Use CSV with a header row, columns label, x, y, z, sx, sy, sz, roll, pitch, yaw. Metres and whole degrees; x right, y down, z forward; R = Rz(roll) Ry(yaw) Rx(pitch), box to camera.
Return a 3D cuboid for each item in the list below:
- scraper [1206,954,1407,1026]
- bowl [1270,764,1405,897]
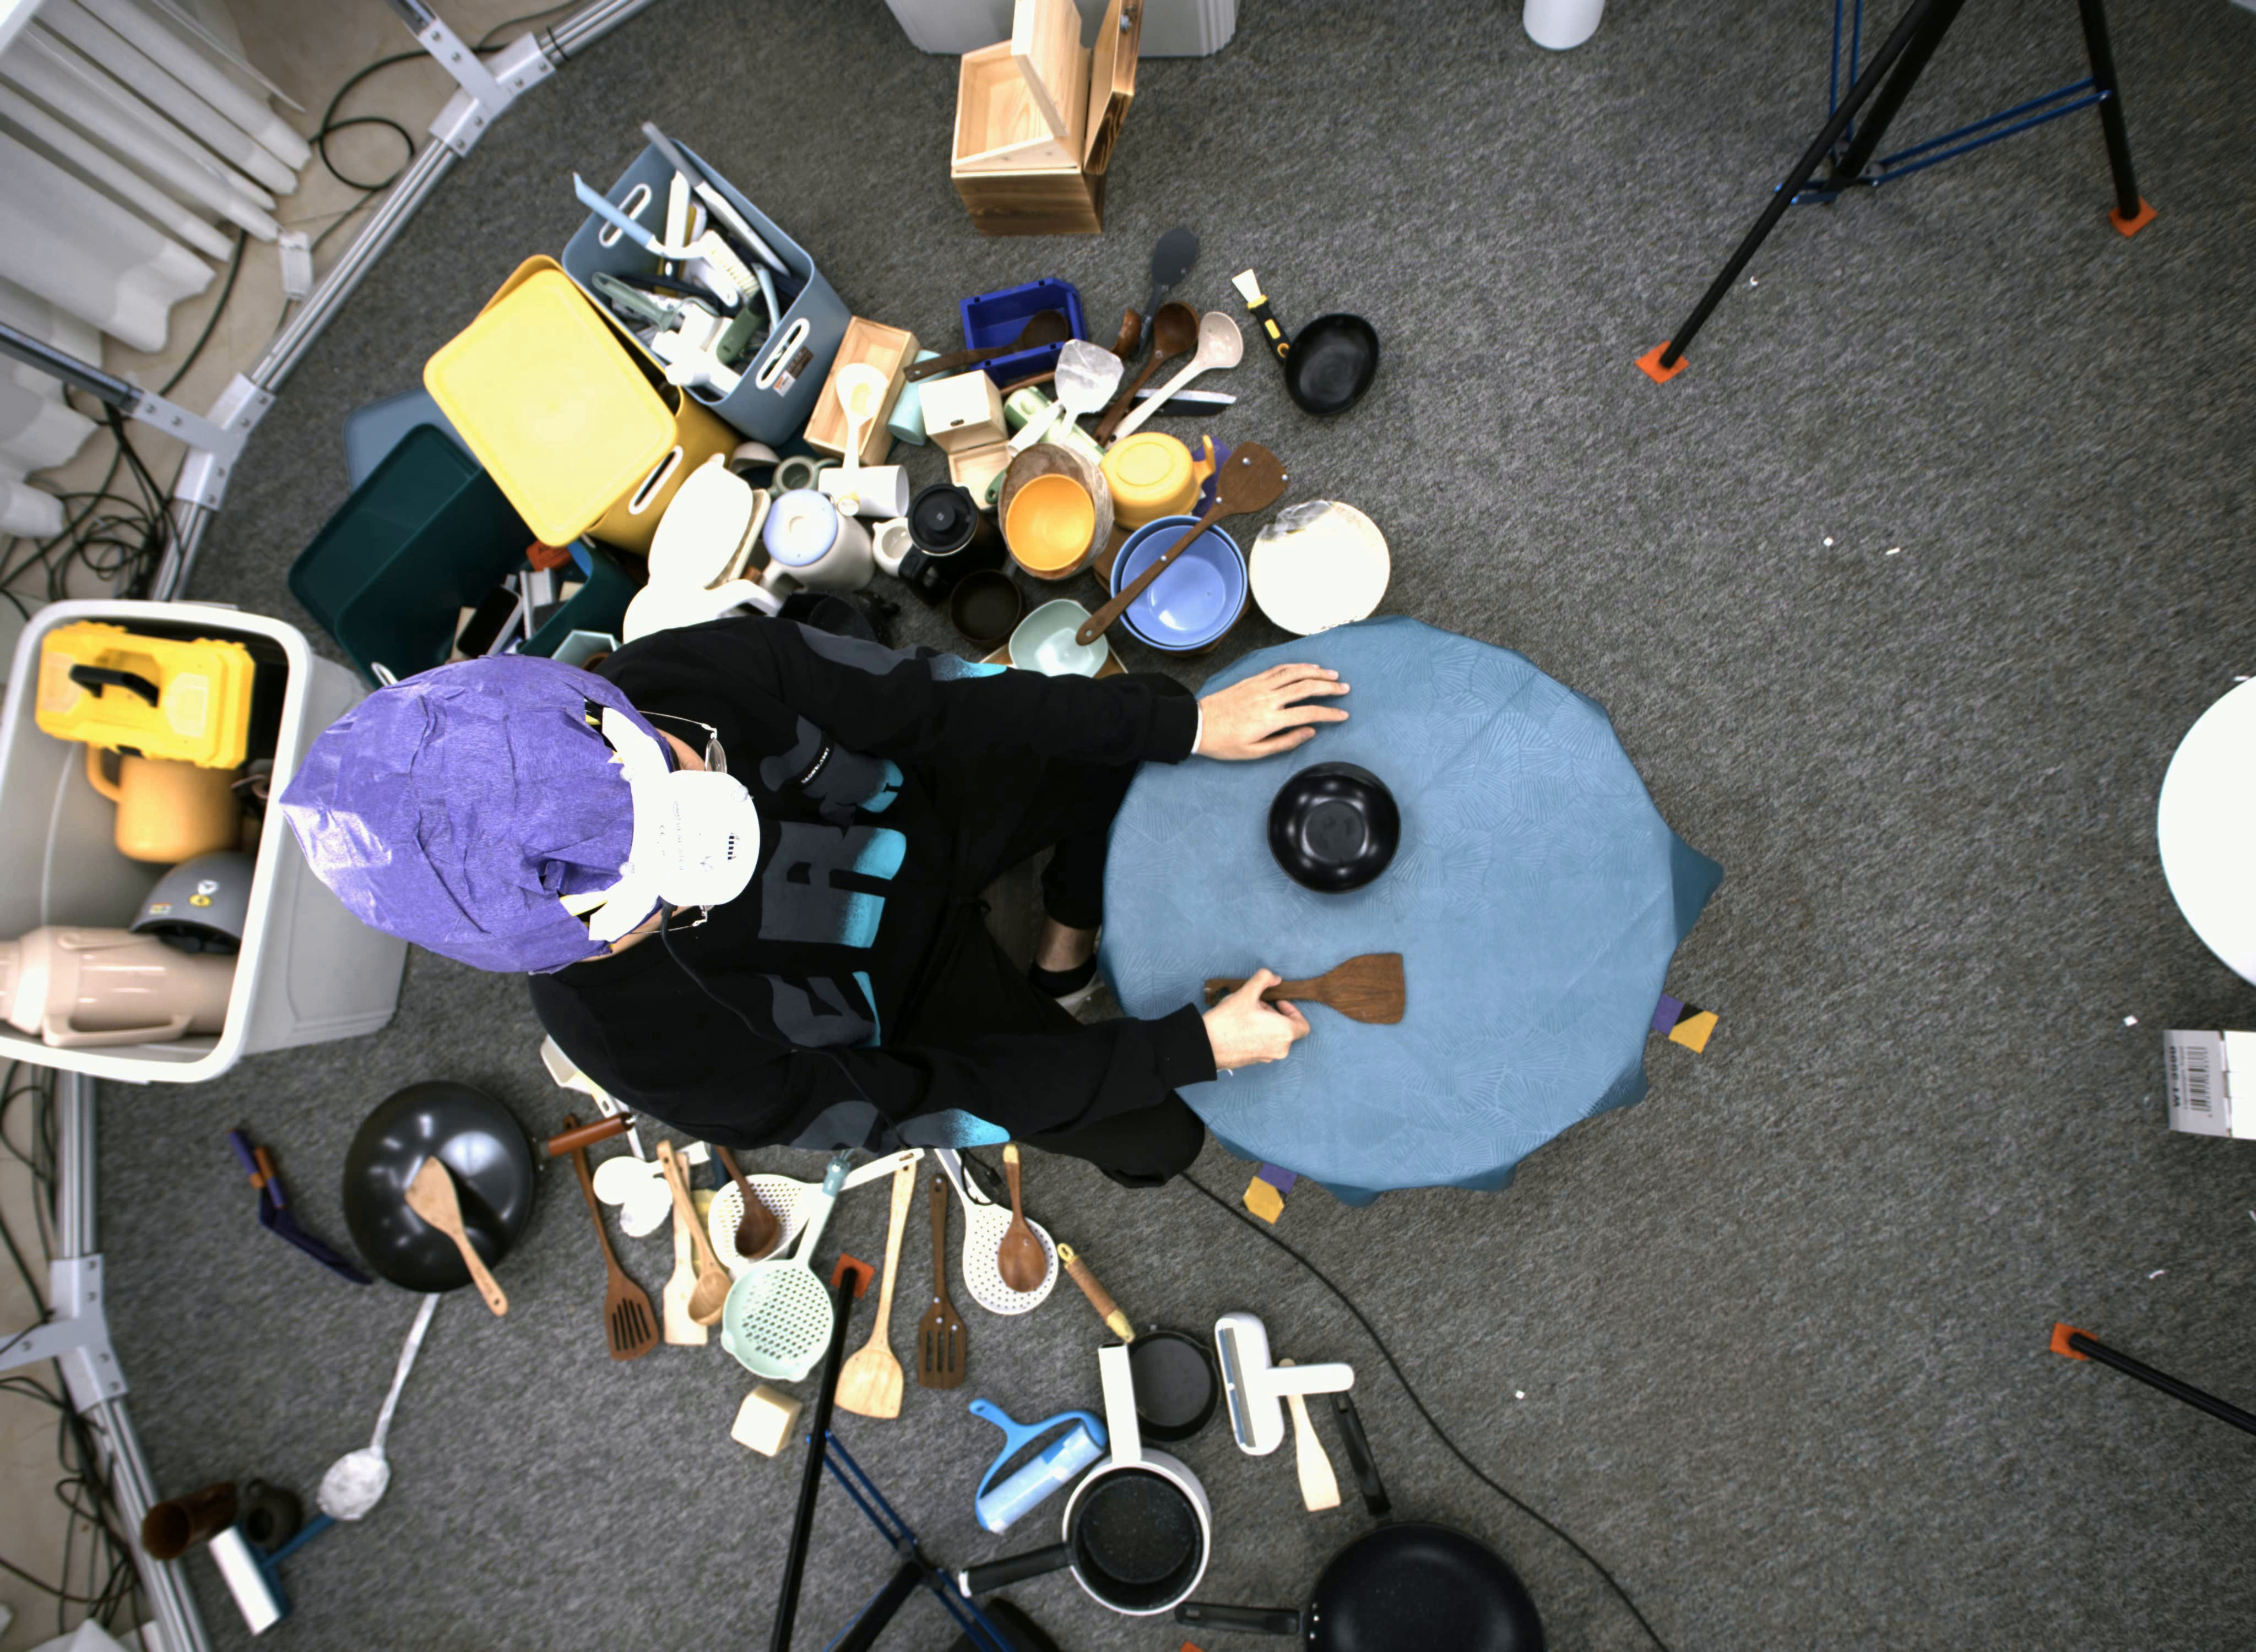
label,x,y,z,sx,sy,sz,roll,pitch,yaw
scraper,0.188,0.175,1.465,0.212,0.011,0.075,-2,86,7
bowl,0.220,0.004,1.454,0.140,0.050,0.139,0,88,10
